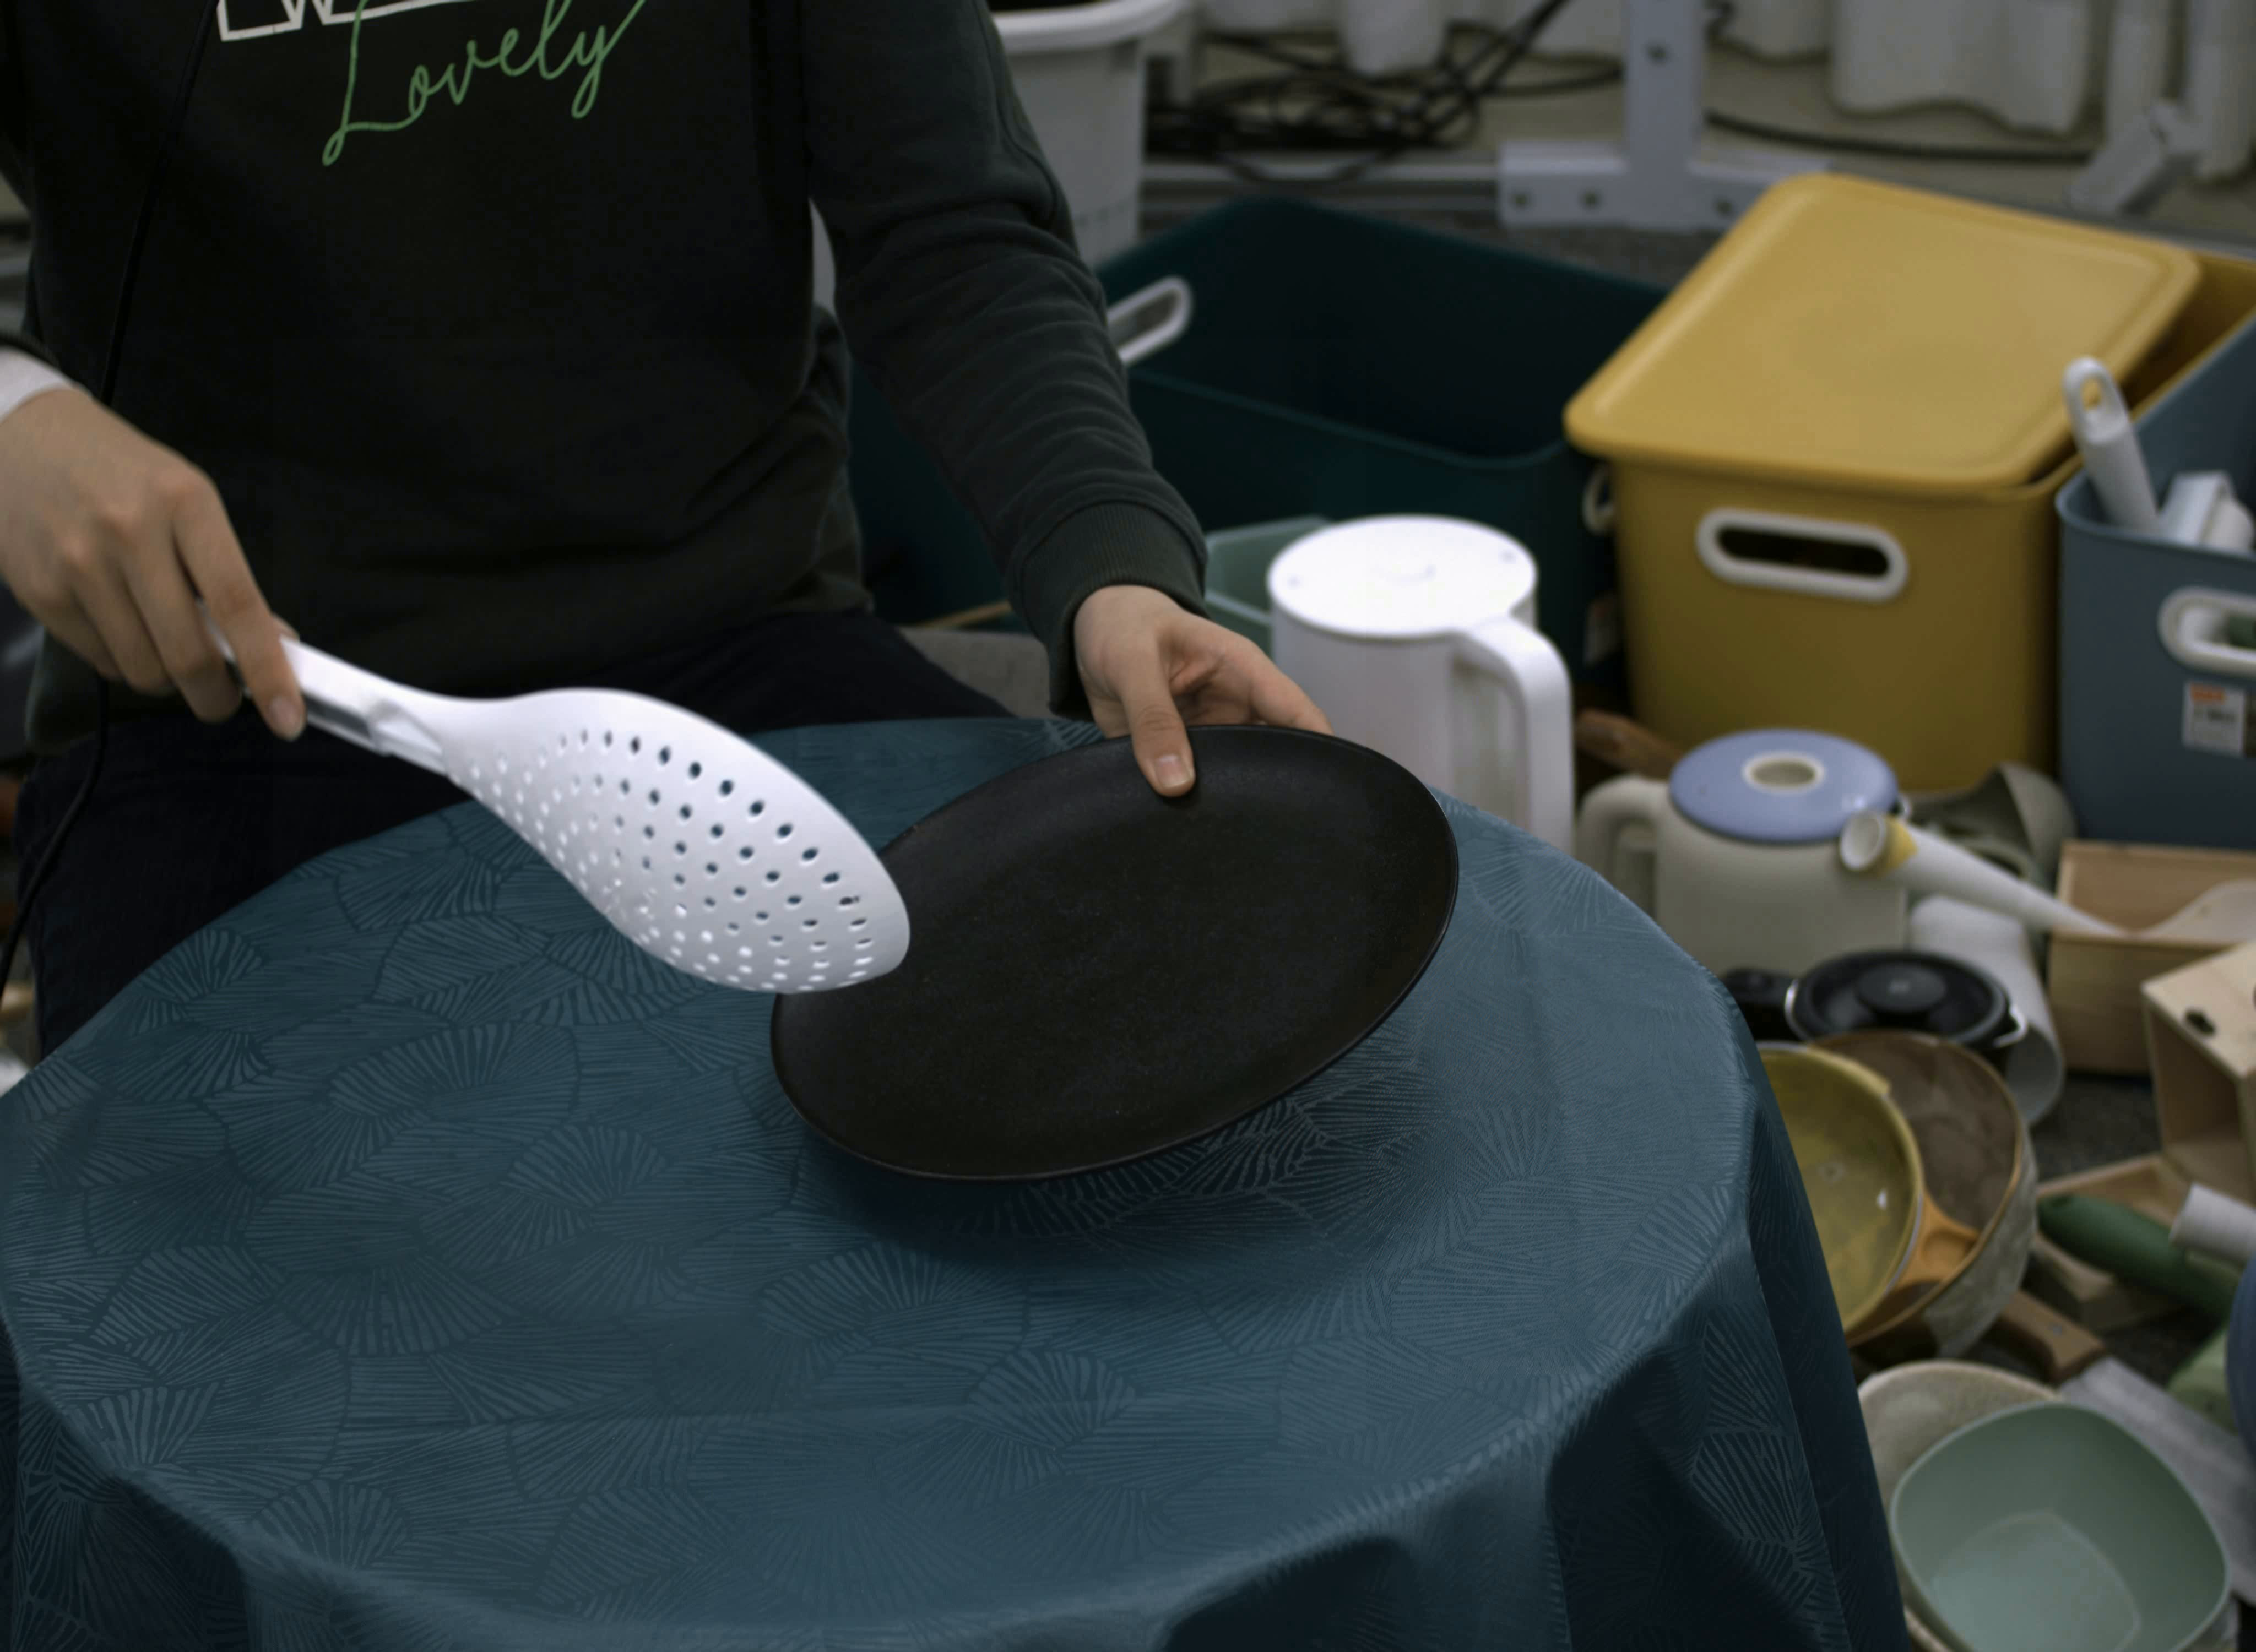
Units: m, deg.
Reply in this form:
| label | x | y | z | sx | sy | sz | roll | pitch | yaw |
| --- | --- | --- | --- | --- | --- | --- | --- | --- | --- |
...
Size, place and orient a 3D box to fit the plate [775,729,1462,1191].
| label | x | y | z | sx | sy | sz | roll | pitch | yaw |
| --- | --- | --- | --- | --- | --- | --- | --- | --- | --- |
| plate | -0.002 | 0.048 | 1.902 | 0.242 | 0.023 | 0.249 | -13 | 33 | 9 |

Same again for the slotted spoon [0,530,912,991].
| label | x | y | z | sx | sy | sz | roll | pitch | yaw |
| --- | --- | --- | --- | --- | --- | --- | --- | --- | --- |
| slotted spoon | -0.221 | -0.028 | 1.784 | 0.349 | 0.134 | 0.046 | 26 | 62 | 26 |
